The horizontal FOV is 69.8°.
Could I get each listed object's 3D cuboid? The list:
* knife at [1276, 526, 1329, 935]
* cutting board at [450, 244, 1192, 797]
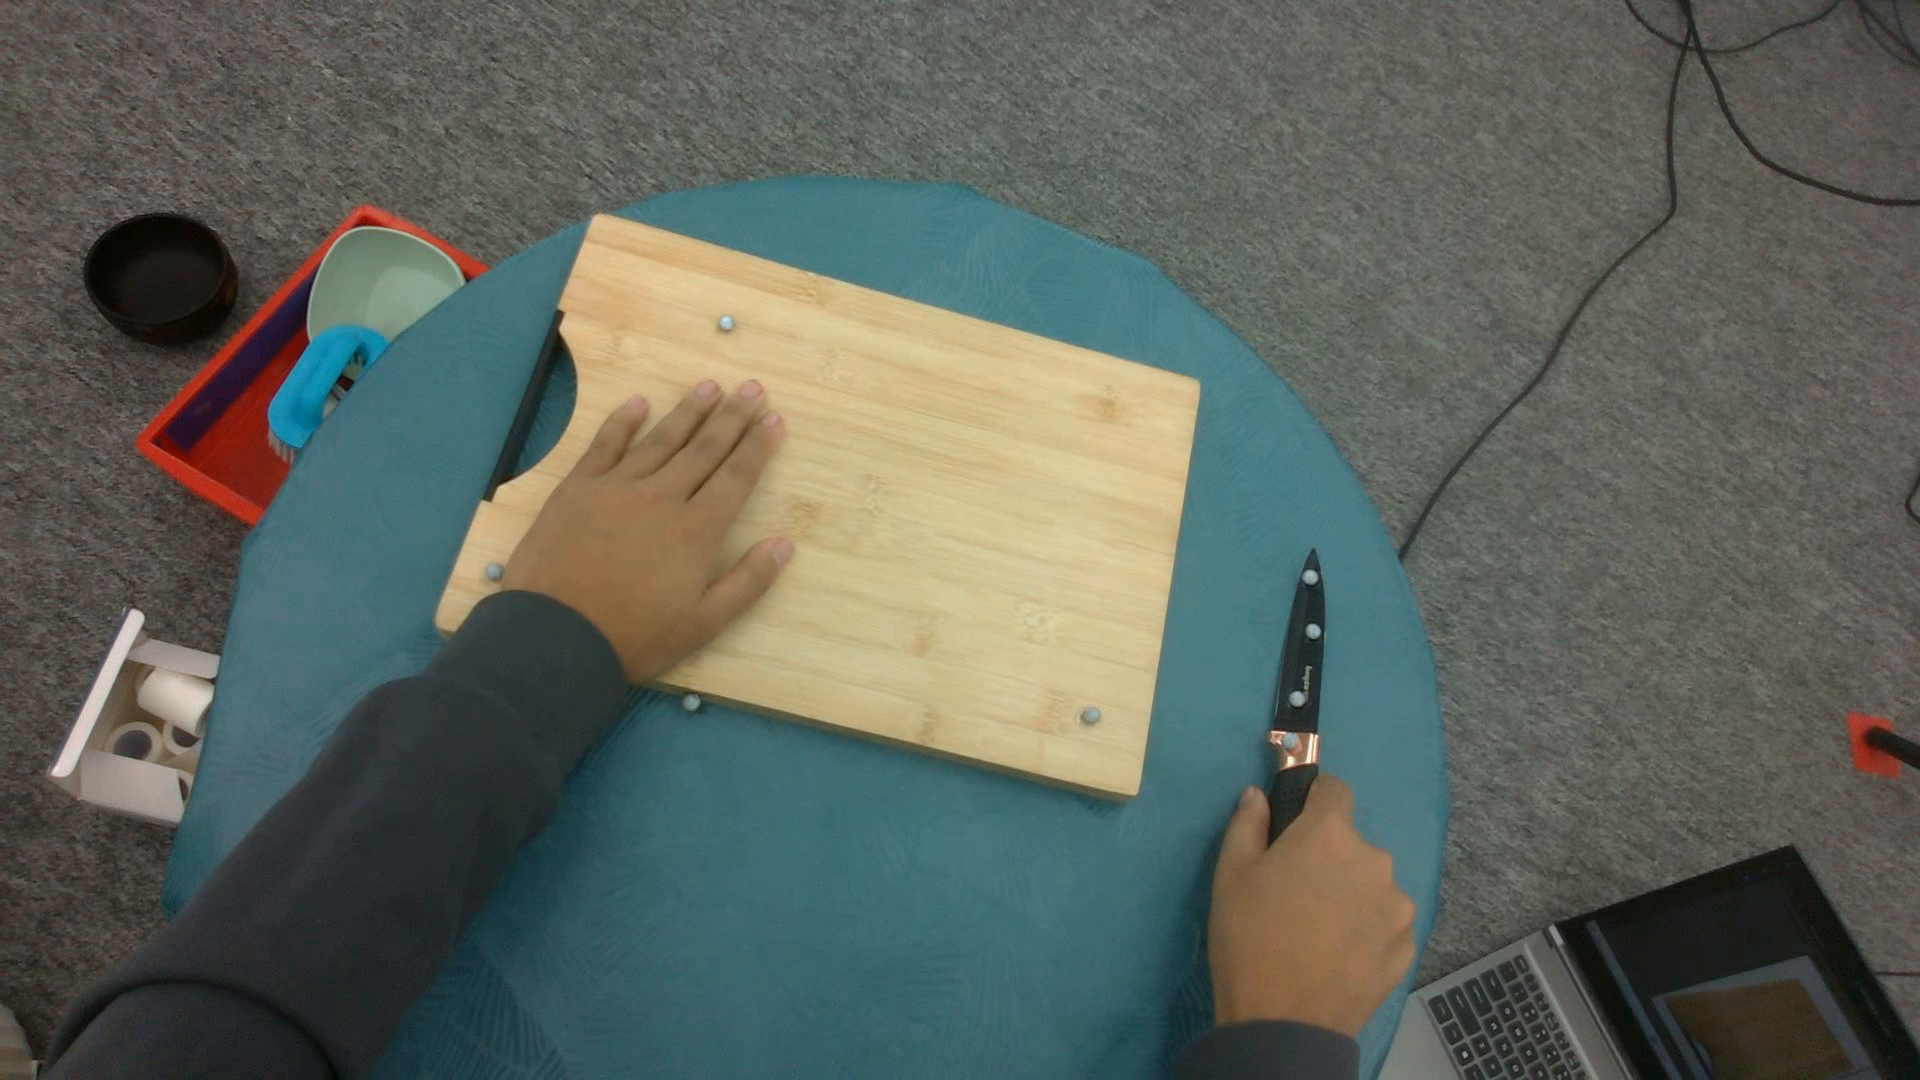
[{"bbox_3d":[0.177,0.090,0.708,0.026,0.017,0.226,-1,59,20],"label":"knife"},{"bbox_3d":[-0.057,-0.016,0.719,0.349,0.023,0.251,10,65,-4],"label":"cutting board"}]
